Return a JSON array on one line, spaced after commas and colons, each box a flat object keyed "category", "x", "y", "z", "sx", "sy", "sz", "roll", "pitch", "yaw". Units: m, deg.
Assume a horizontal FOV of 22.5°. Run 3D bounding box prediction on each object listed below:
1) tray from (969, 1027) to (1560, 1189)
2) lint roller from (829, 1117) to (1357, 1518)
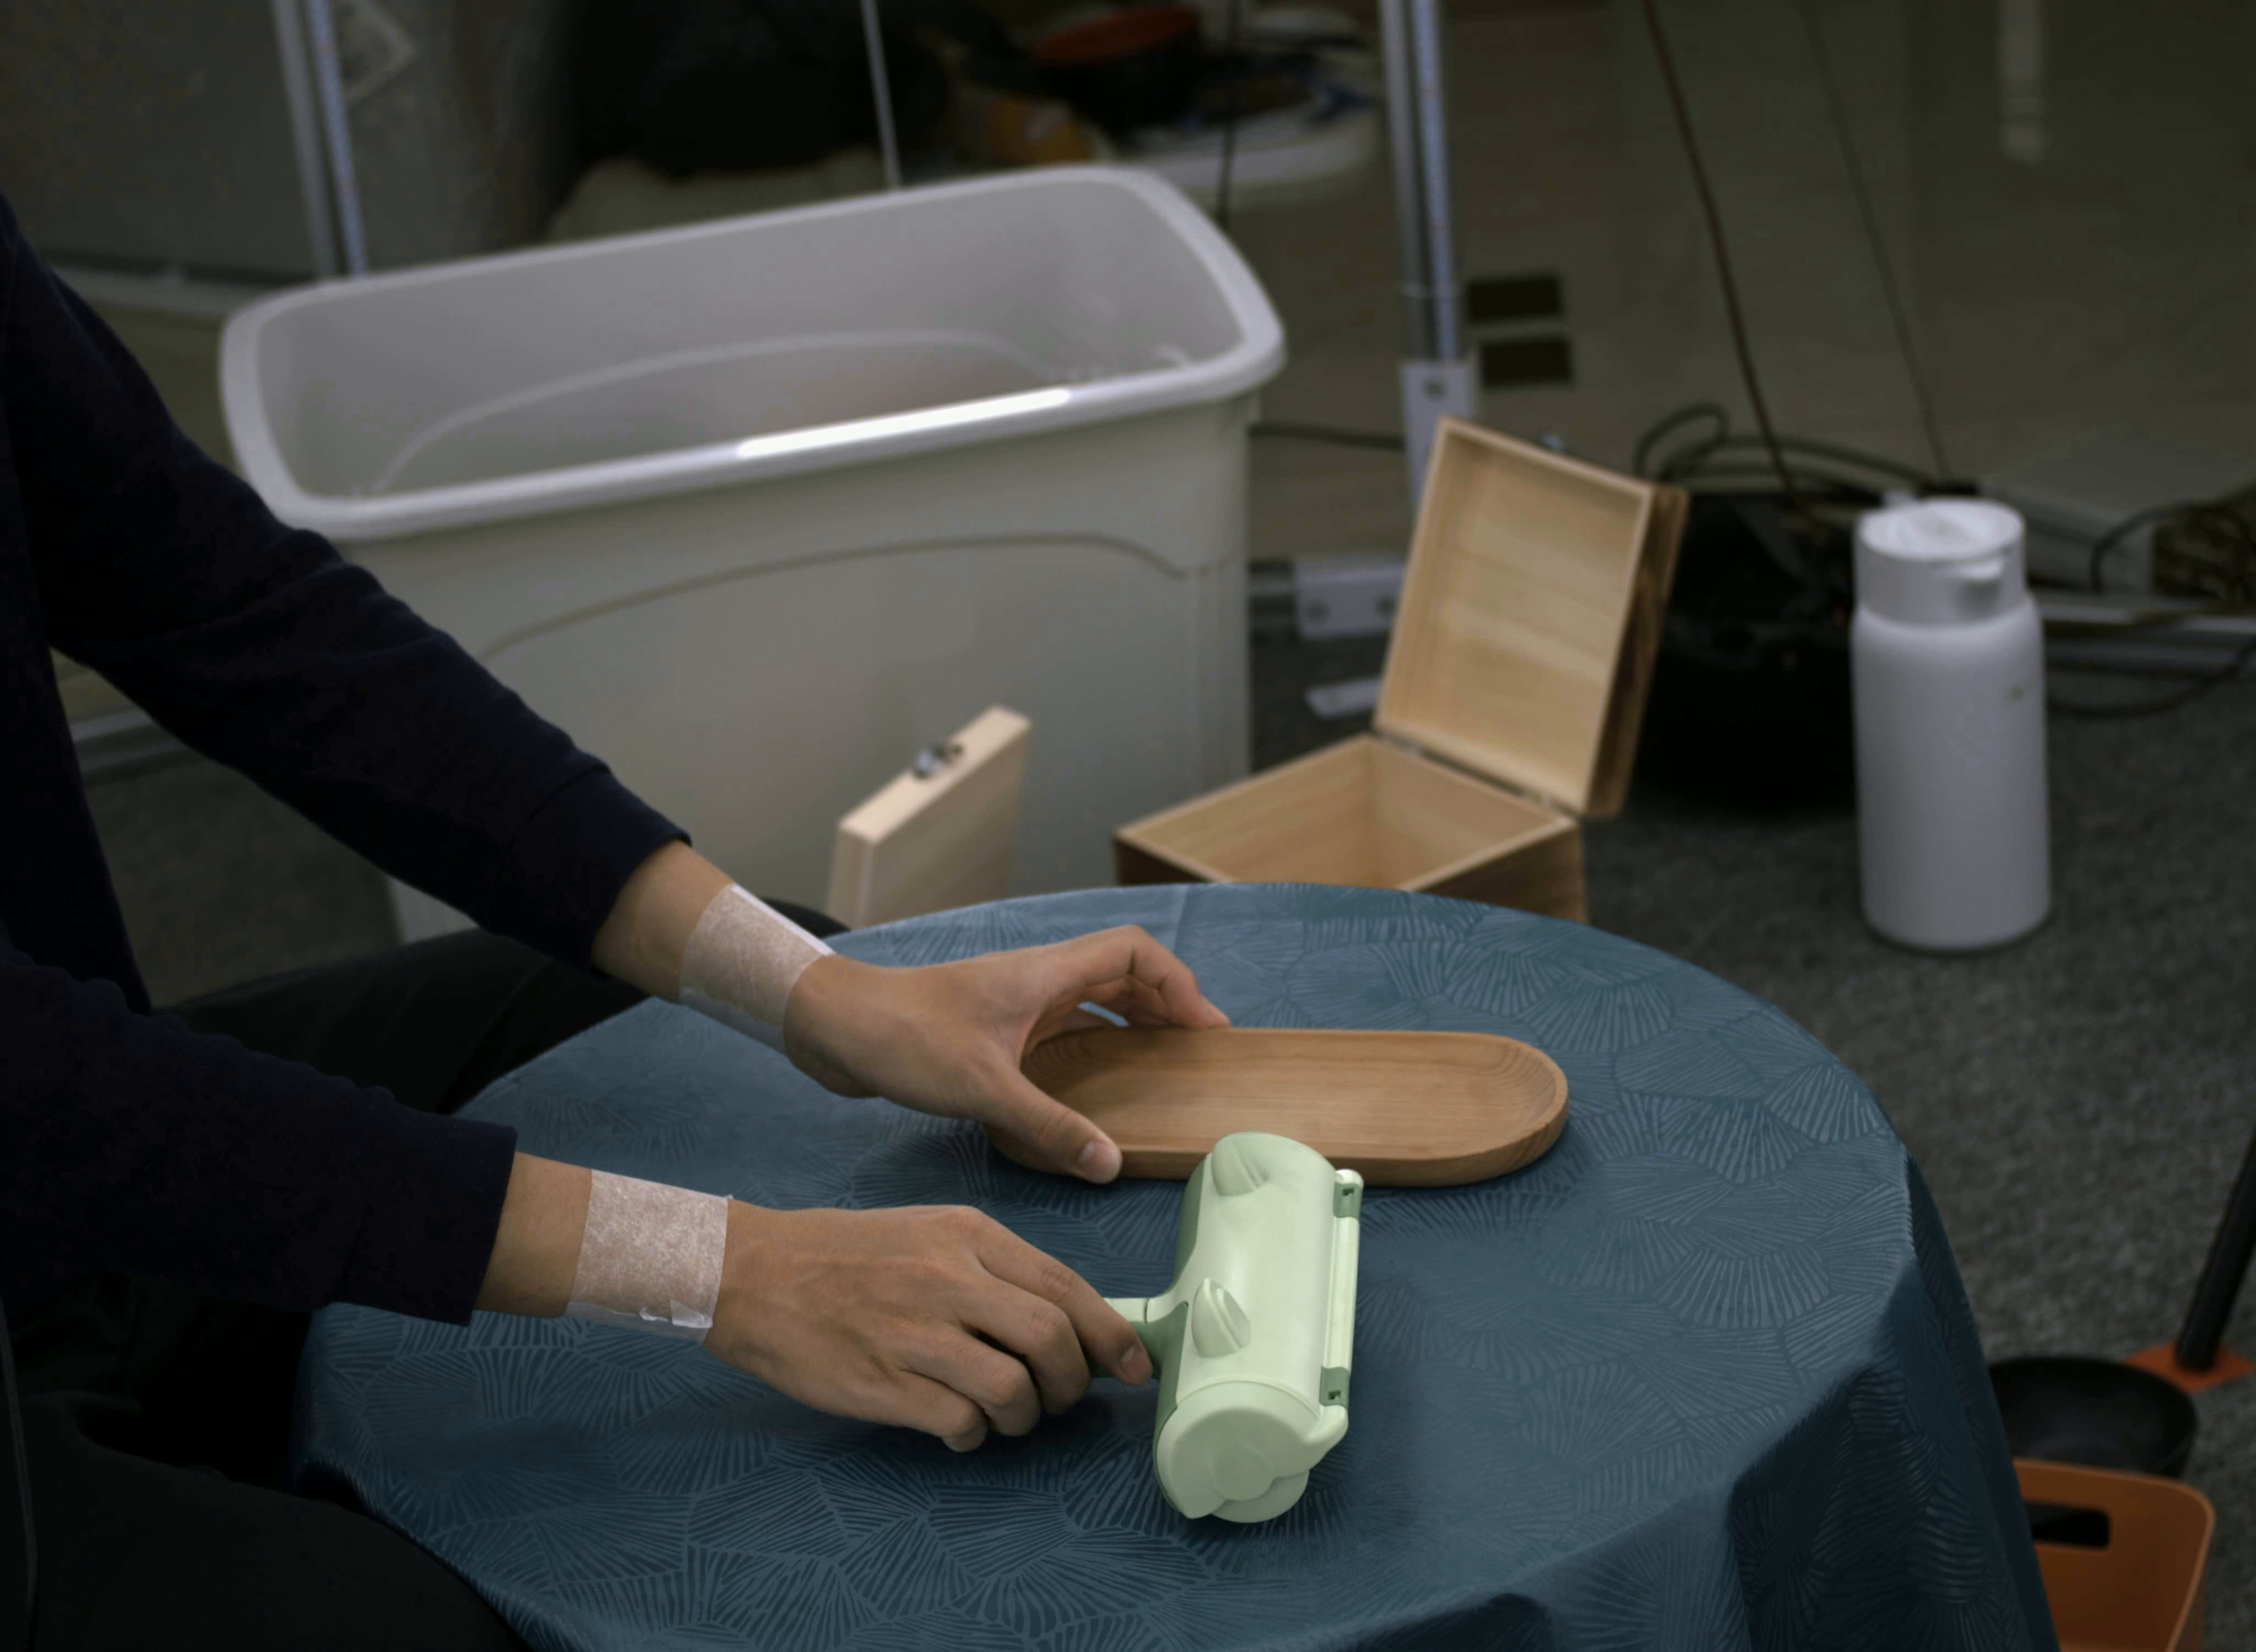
[{"category": "tray", "x": 0.052, "y": 0.109, "z": 2.180, "sx": 0.231, "sy": 0.020, "sz": 0.100, "roll": -1, "pitch": 26, "yaw": 16}, {"category": "lint roller", "x": -0.013, "y": 0.163, "z": 1.988, "sx": 0.183, "sy": 0.083, "sz": 0.196, "roll": 4, "pitch": 25, "yaw": 2}]
